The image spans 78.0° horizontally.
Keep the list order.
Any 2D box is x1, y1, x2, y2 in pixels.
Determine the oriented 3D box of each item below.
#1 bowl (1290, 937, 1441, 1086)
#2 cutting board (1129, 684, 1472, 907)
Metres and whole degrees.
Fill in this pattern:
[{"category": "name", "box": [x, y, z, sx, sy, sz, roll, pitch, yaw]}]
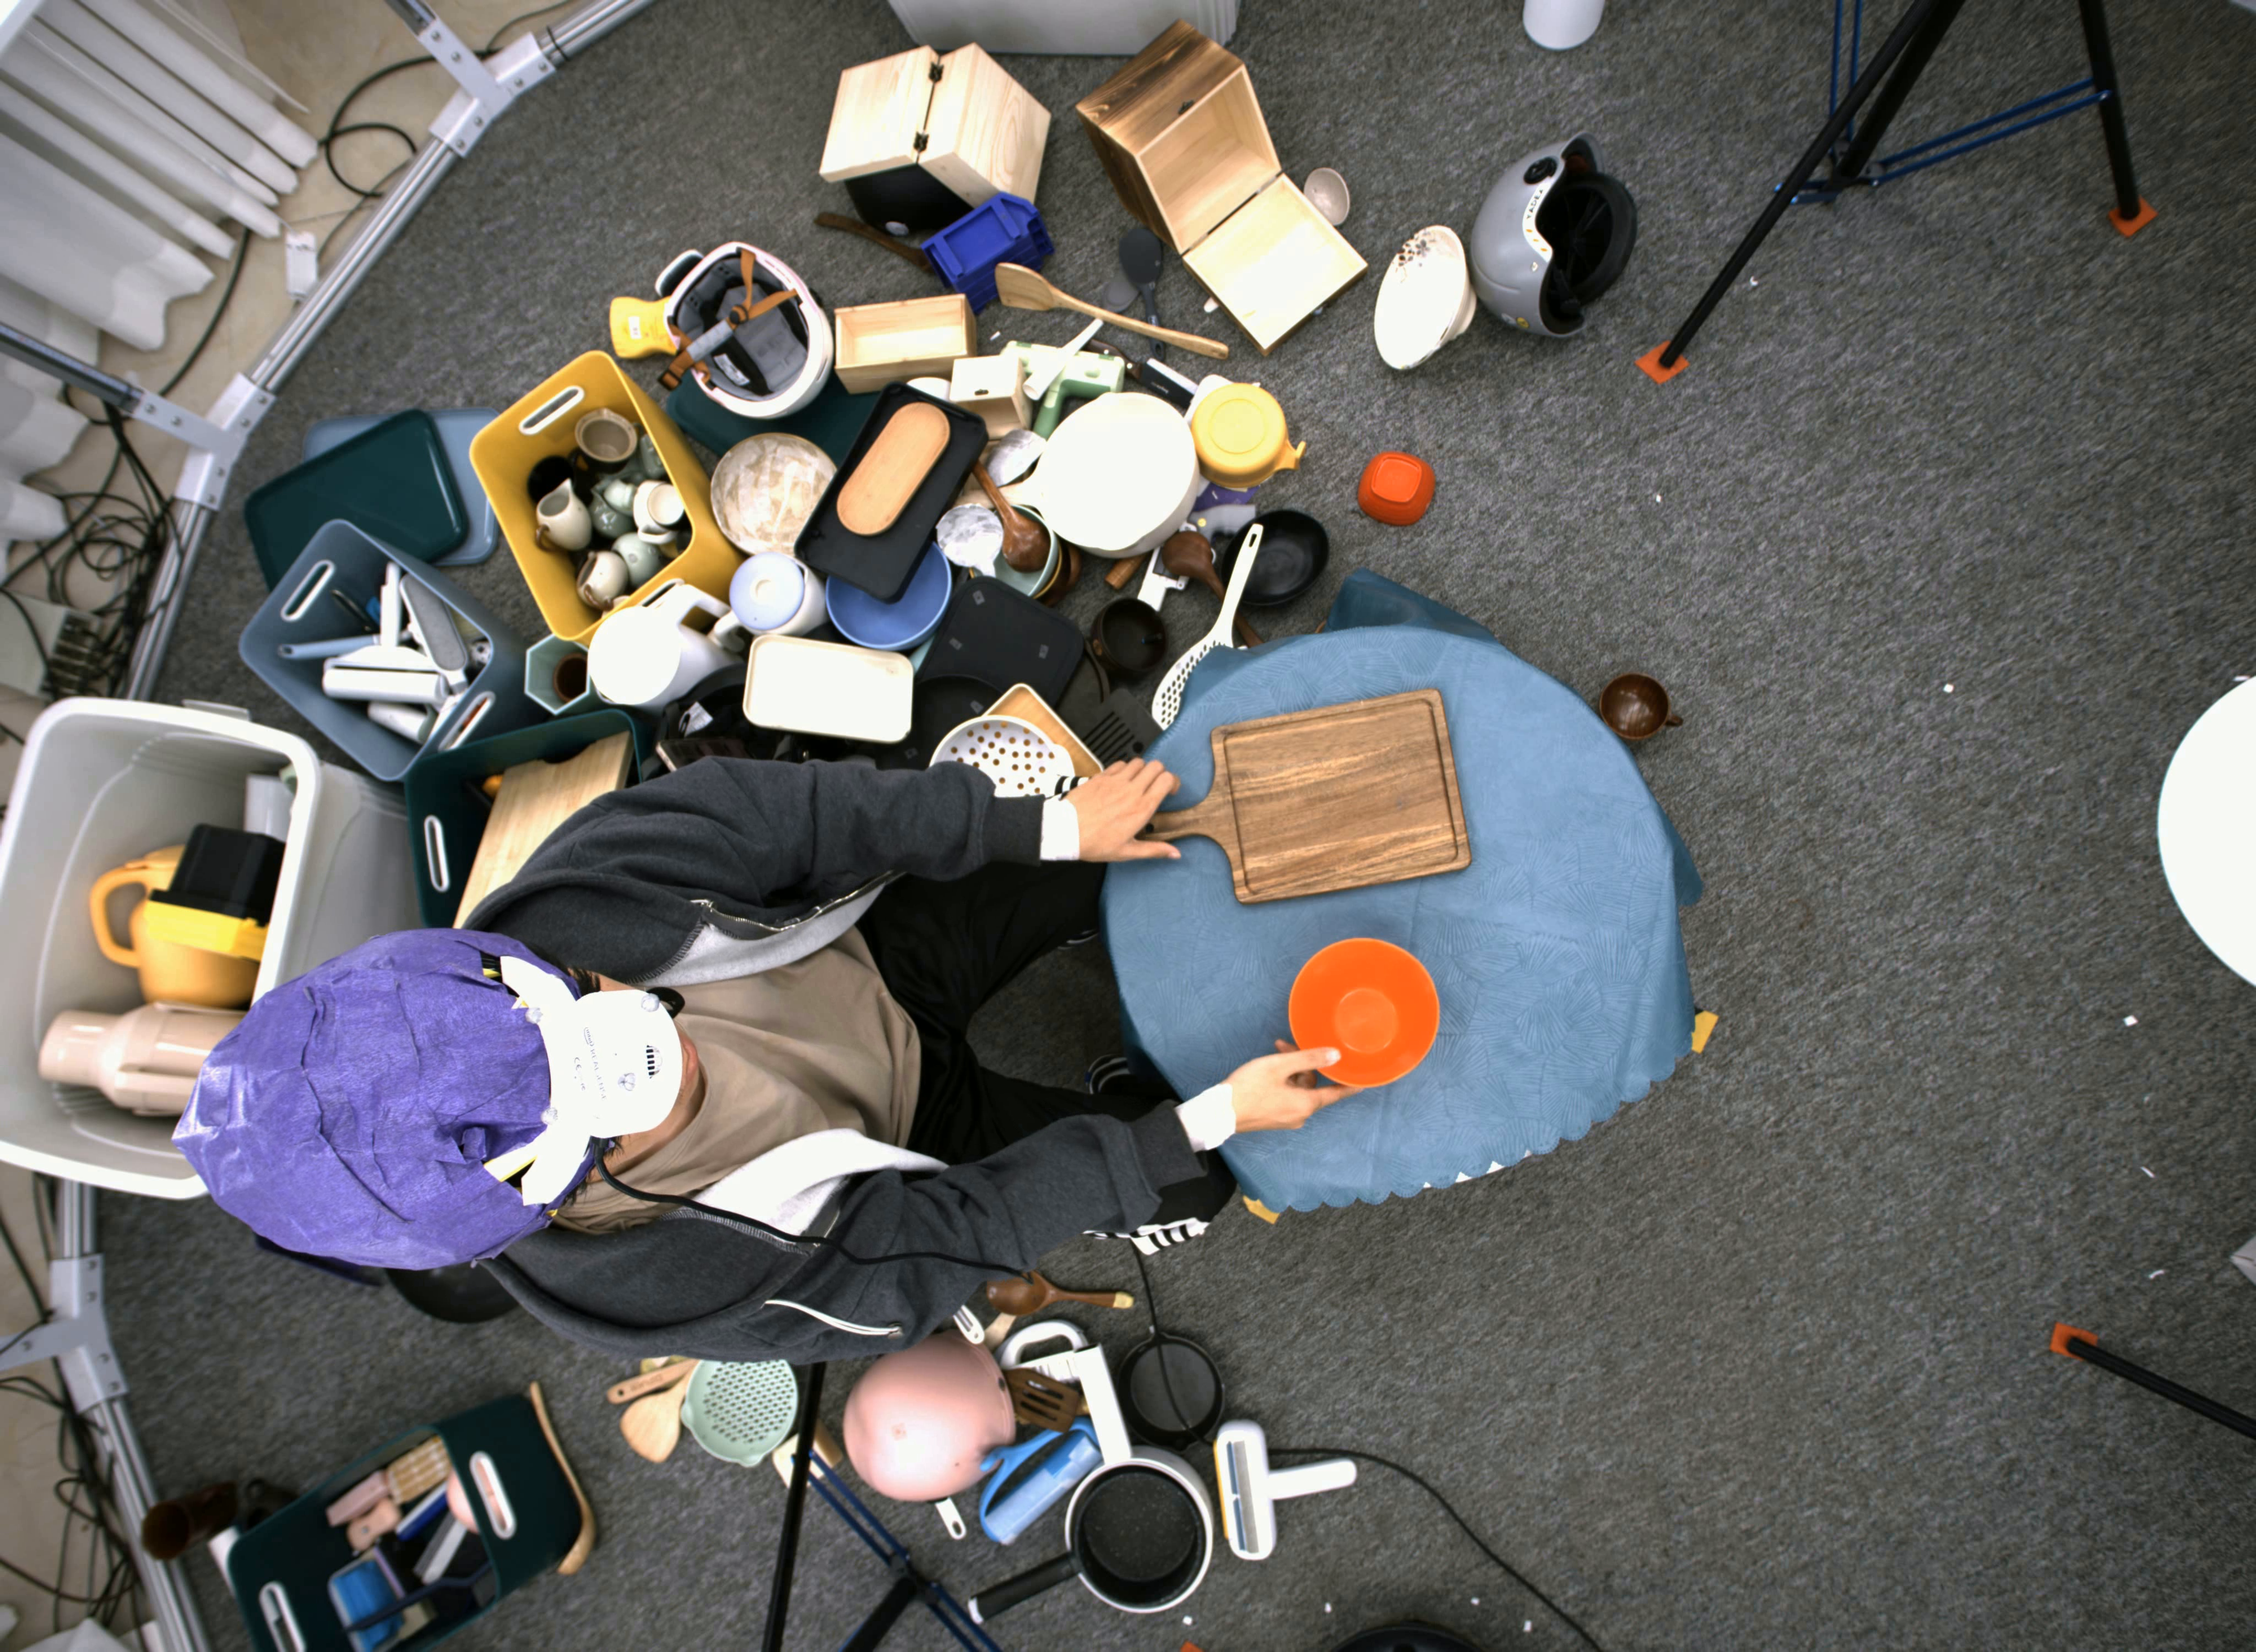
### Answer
[{"category": "bowl", "box": [0.241, 0.187, 1.408, 0.148, 0.105, 0.147, -1, 86, 10]}, {"category": "cutting board", "box": [0.174, -0.024, 1.472, 0.354, 0.023, 0.200, -10, 85, 10]}]
